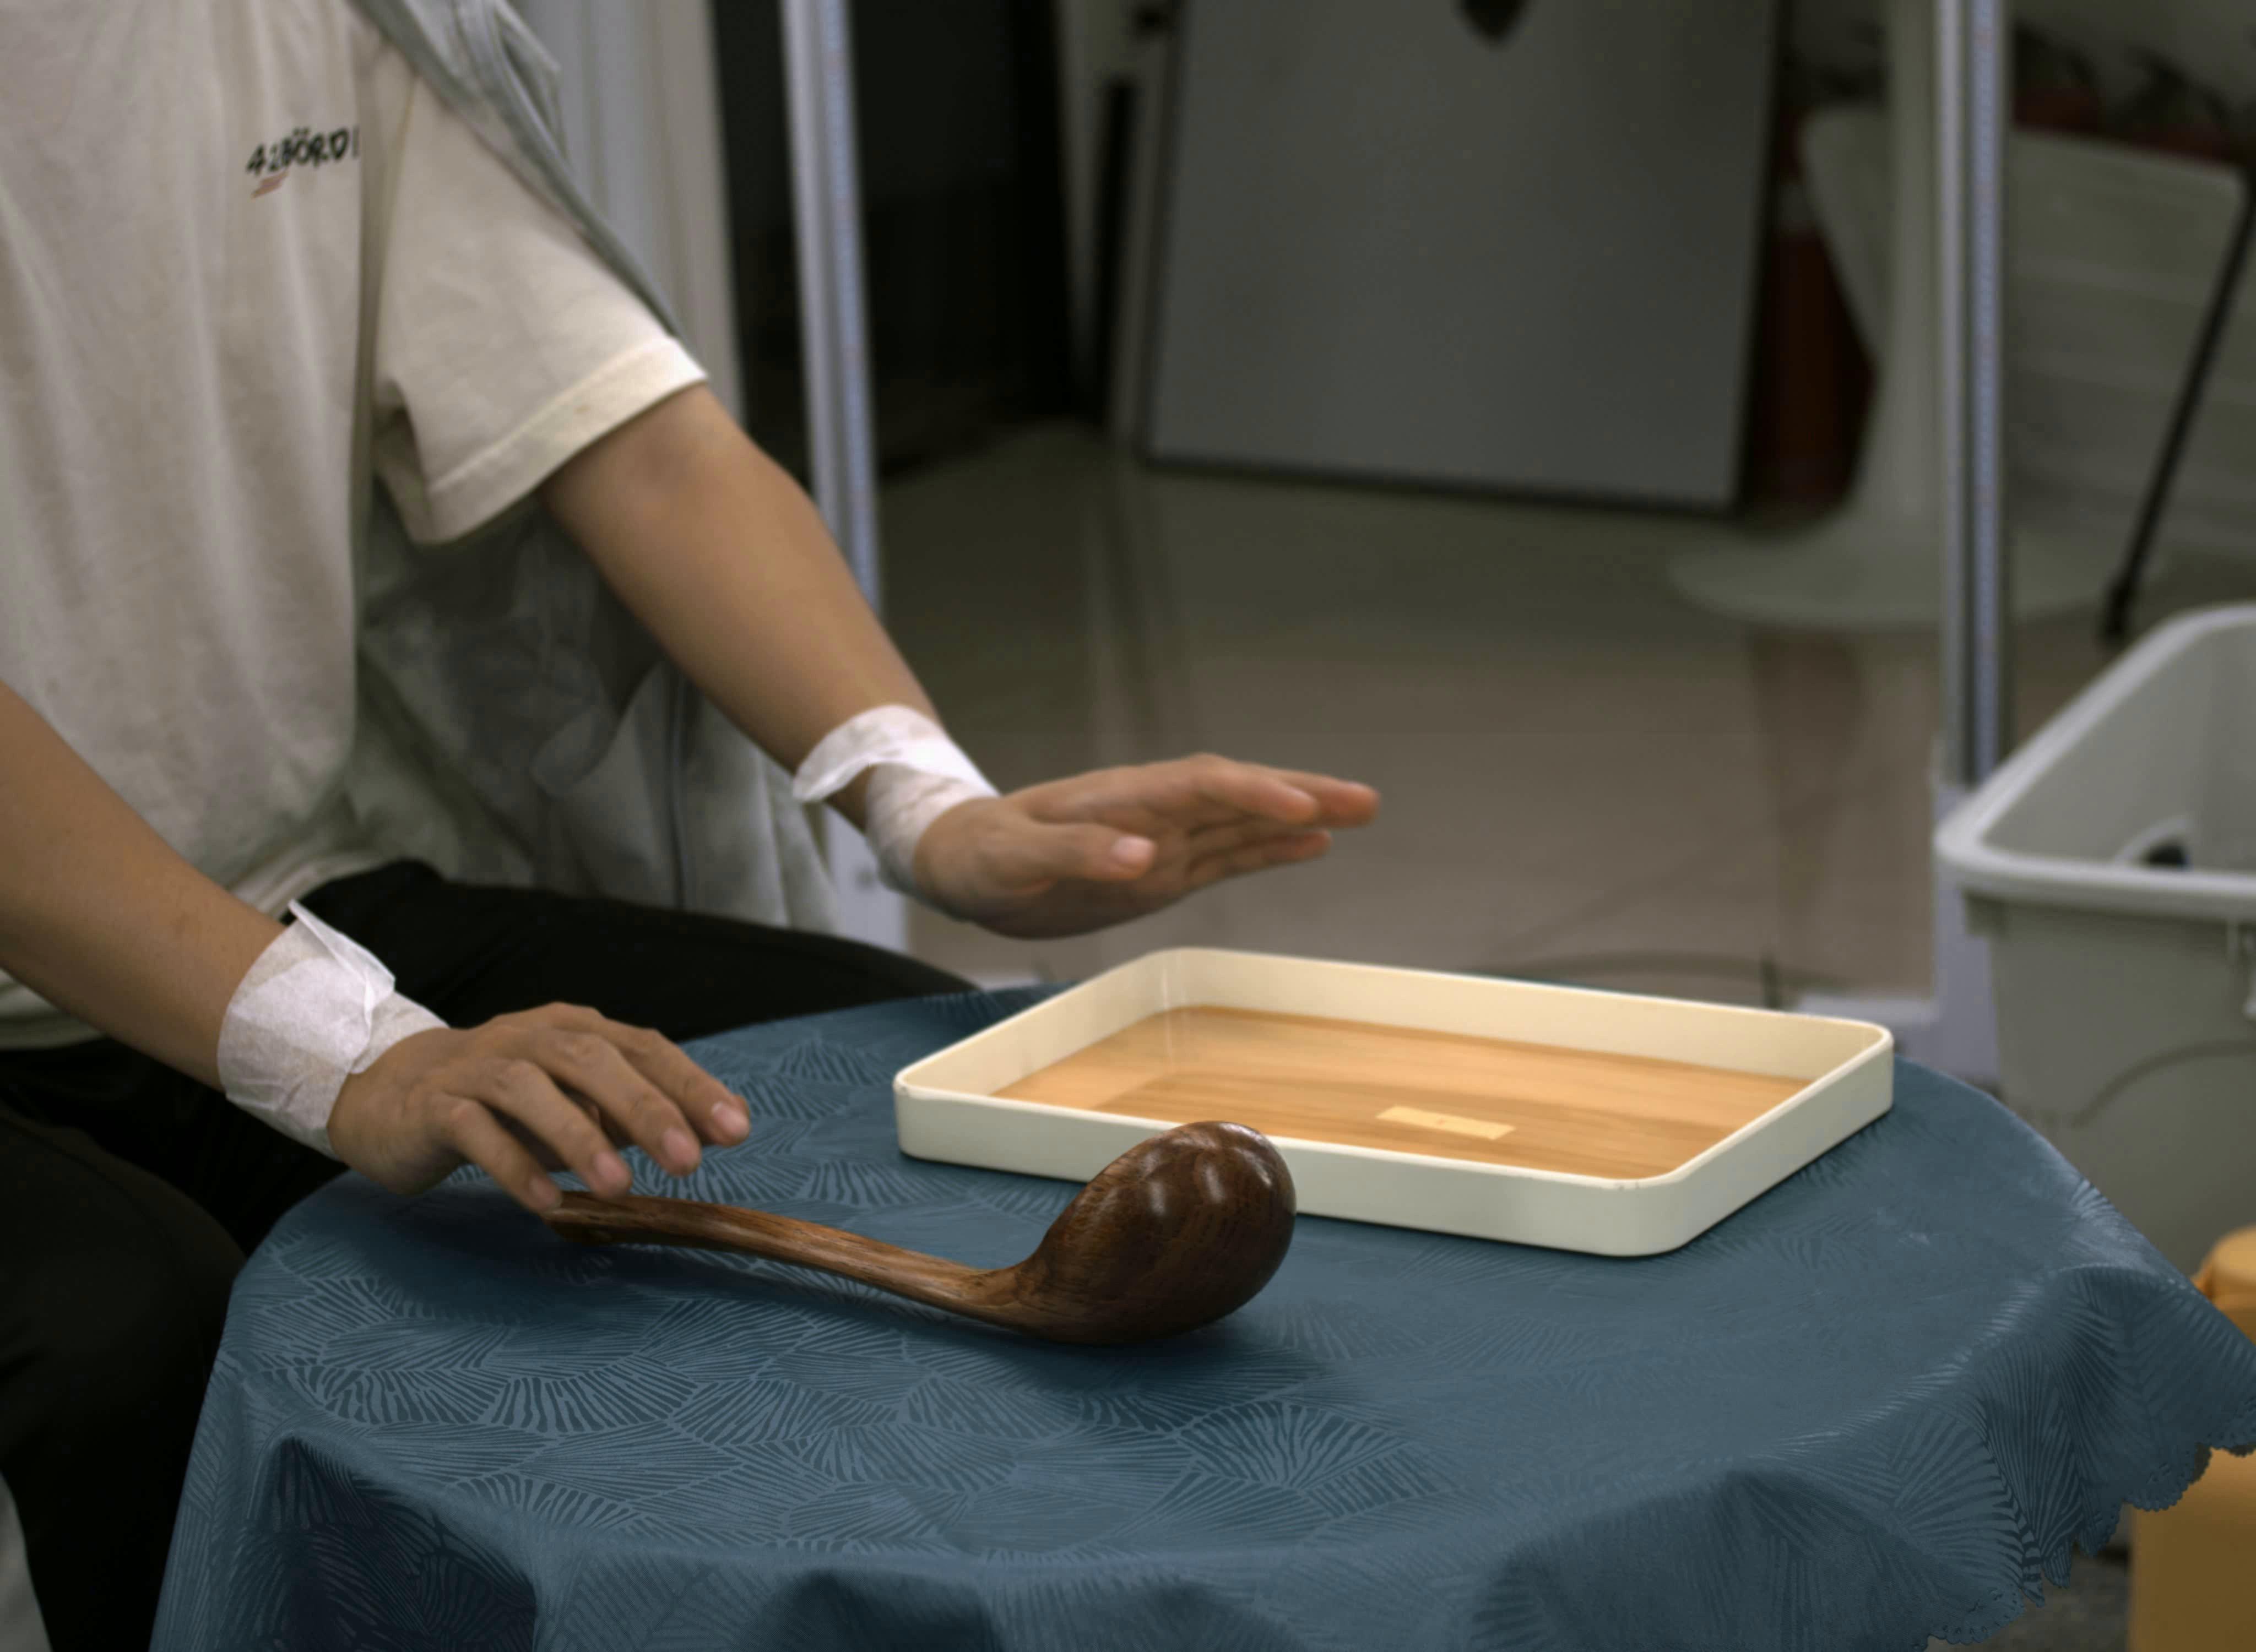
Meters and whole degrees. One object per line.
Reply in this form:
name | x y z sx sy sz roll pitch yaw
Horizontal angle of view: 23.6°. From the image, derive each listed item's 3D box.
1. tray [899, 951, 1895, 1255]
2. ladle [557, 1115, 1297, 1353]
tray | 0.090 0.090 1.817 0.302 0.028 0.188 5 17 34
ladle | -0.068 0.114 1.679 0.276 0.077 0.081 7 -22 40
